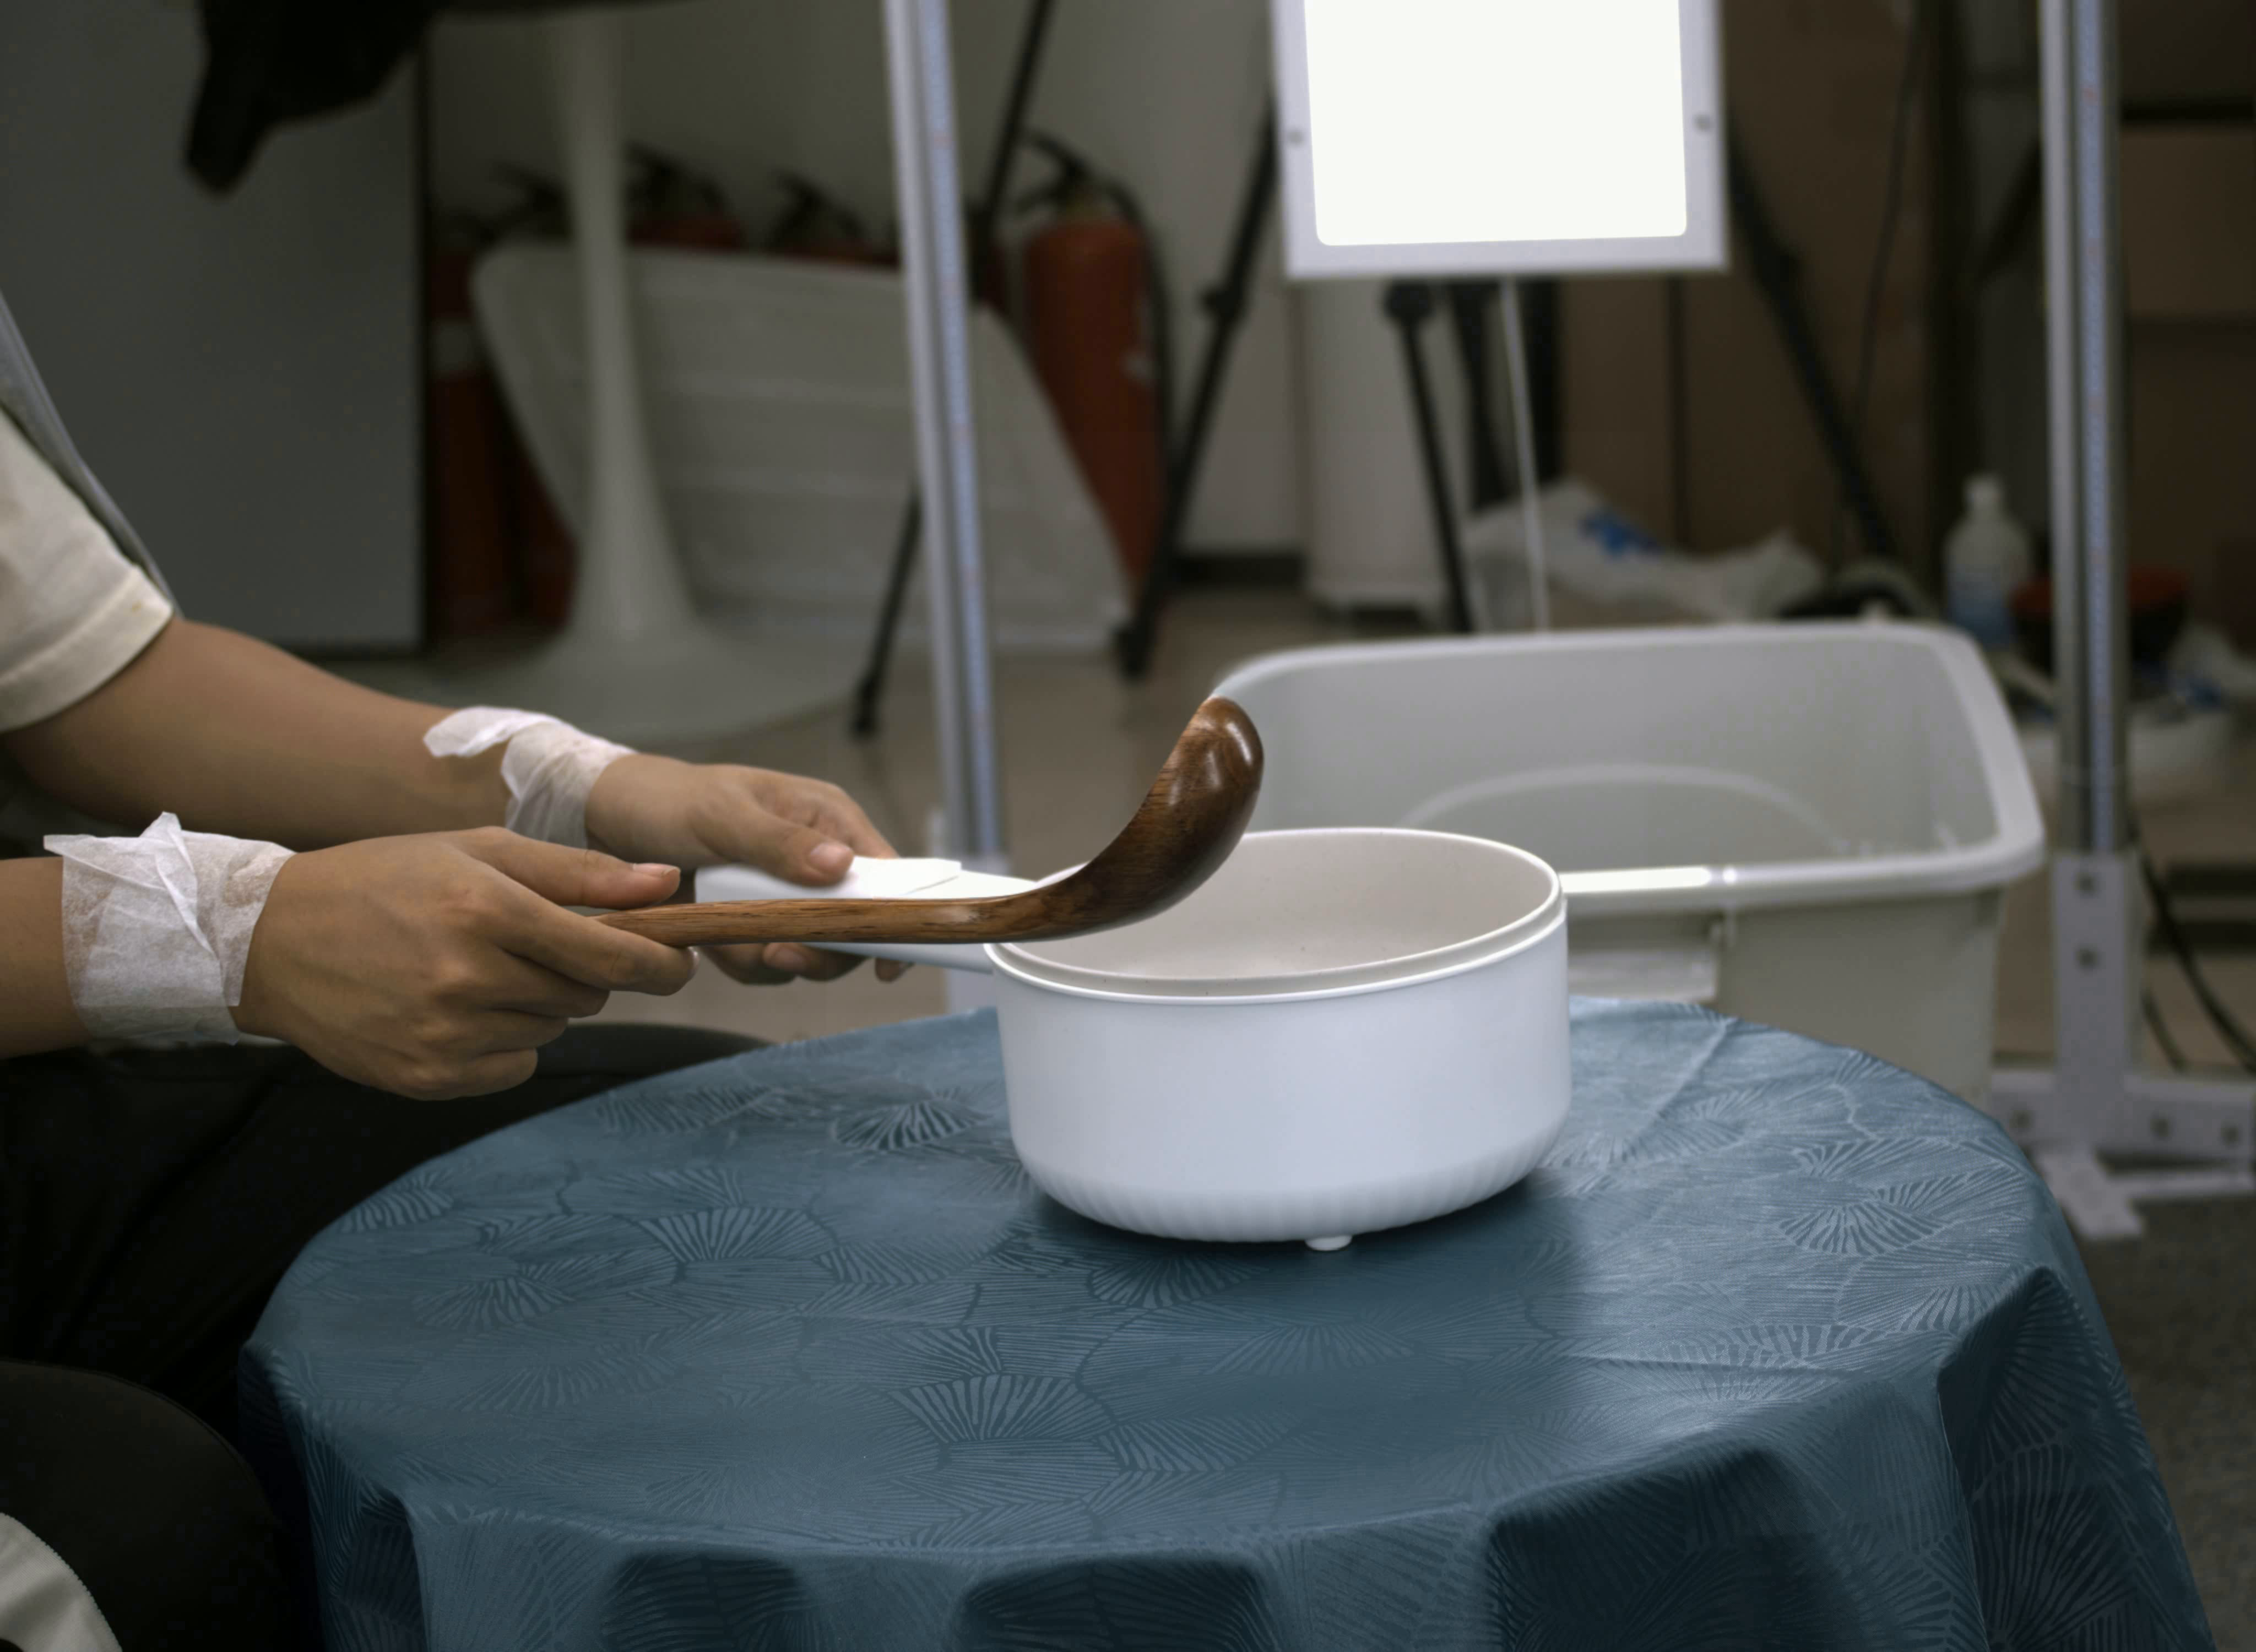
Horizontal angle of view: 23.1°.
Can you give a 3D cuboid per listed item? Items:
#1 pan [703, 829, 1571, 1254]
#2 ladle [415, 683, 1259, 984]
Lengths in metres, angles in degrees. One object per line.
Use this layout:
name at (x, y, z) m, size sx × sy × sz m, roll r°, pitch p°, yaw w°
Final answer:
pan at (-0.006, 0.069, 1.930) m, size 0.362 × 0.102 × 0.196 m, roll 5°, pitch 18°, yaw 40°
ladle at (-0.094, 0.002, 1.737) m, size 0.275 × 0.077 × 0.081 m, roll -4°, pitch -9°, yaw 10°
